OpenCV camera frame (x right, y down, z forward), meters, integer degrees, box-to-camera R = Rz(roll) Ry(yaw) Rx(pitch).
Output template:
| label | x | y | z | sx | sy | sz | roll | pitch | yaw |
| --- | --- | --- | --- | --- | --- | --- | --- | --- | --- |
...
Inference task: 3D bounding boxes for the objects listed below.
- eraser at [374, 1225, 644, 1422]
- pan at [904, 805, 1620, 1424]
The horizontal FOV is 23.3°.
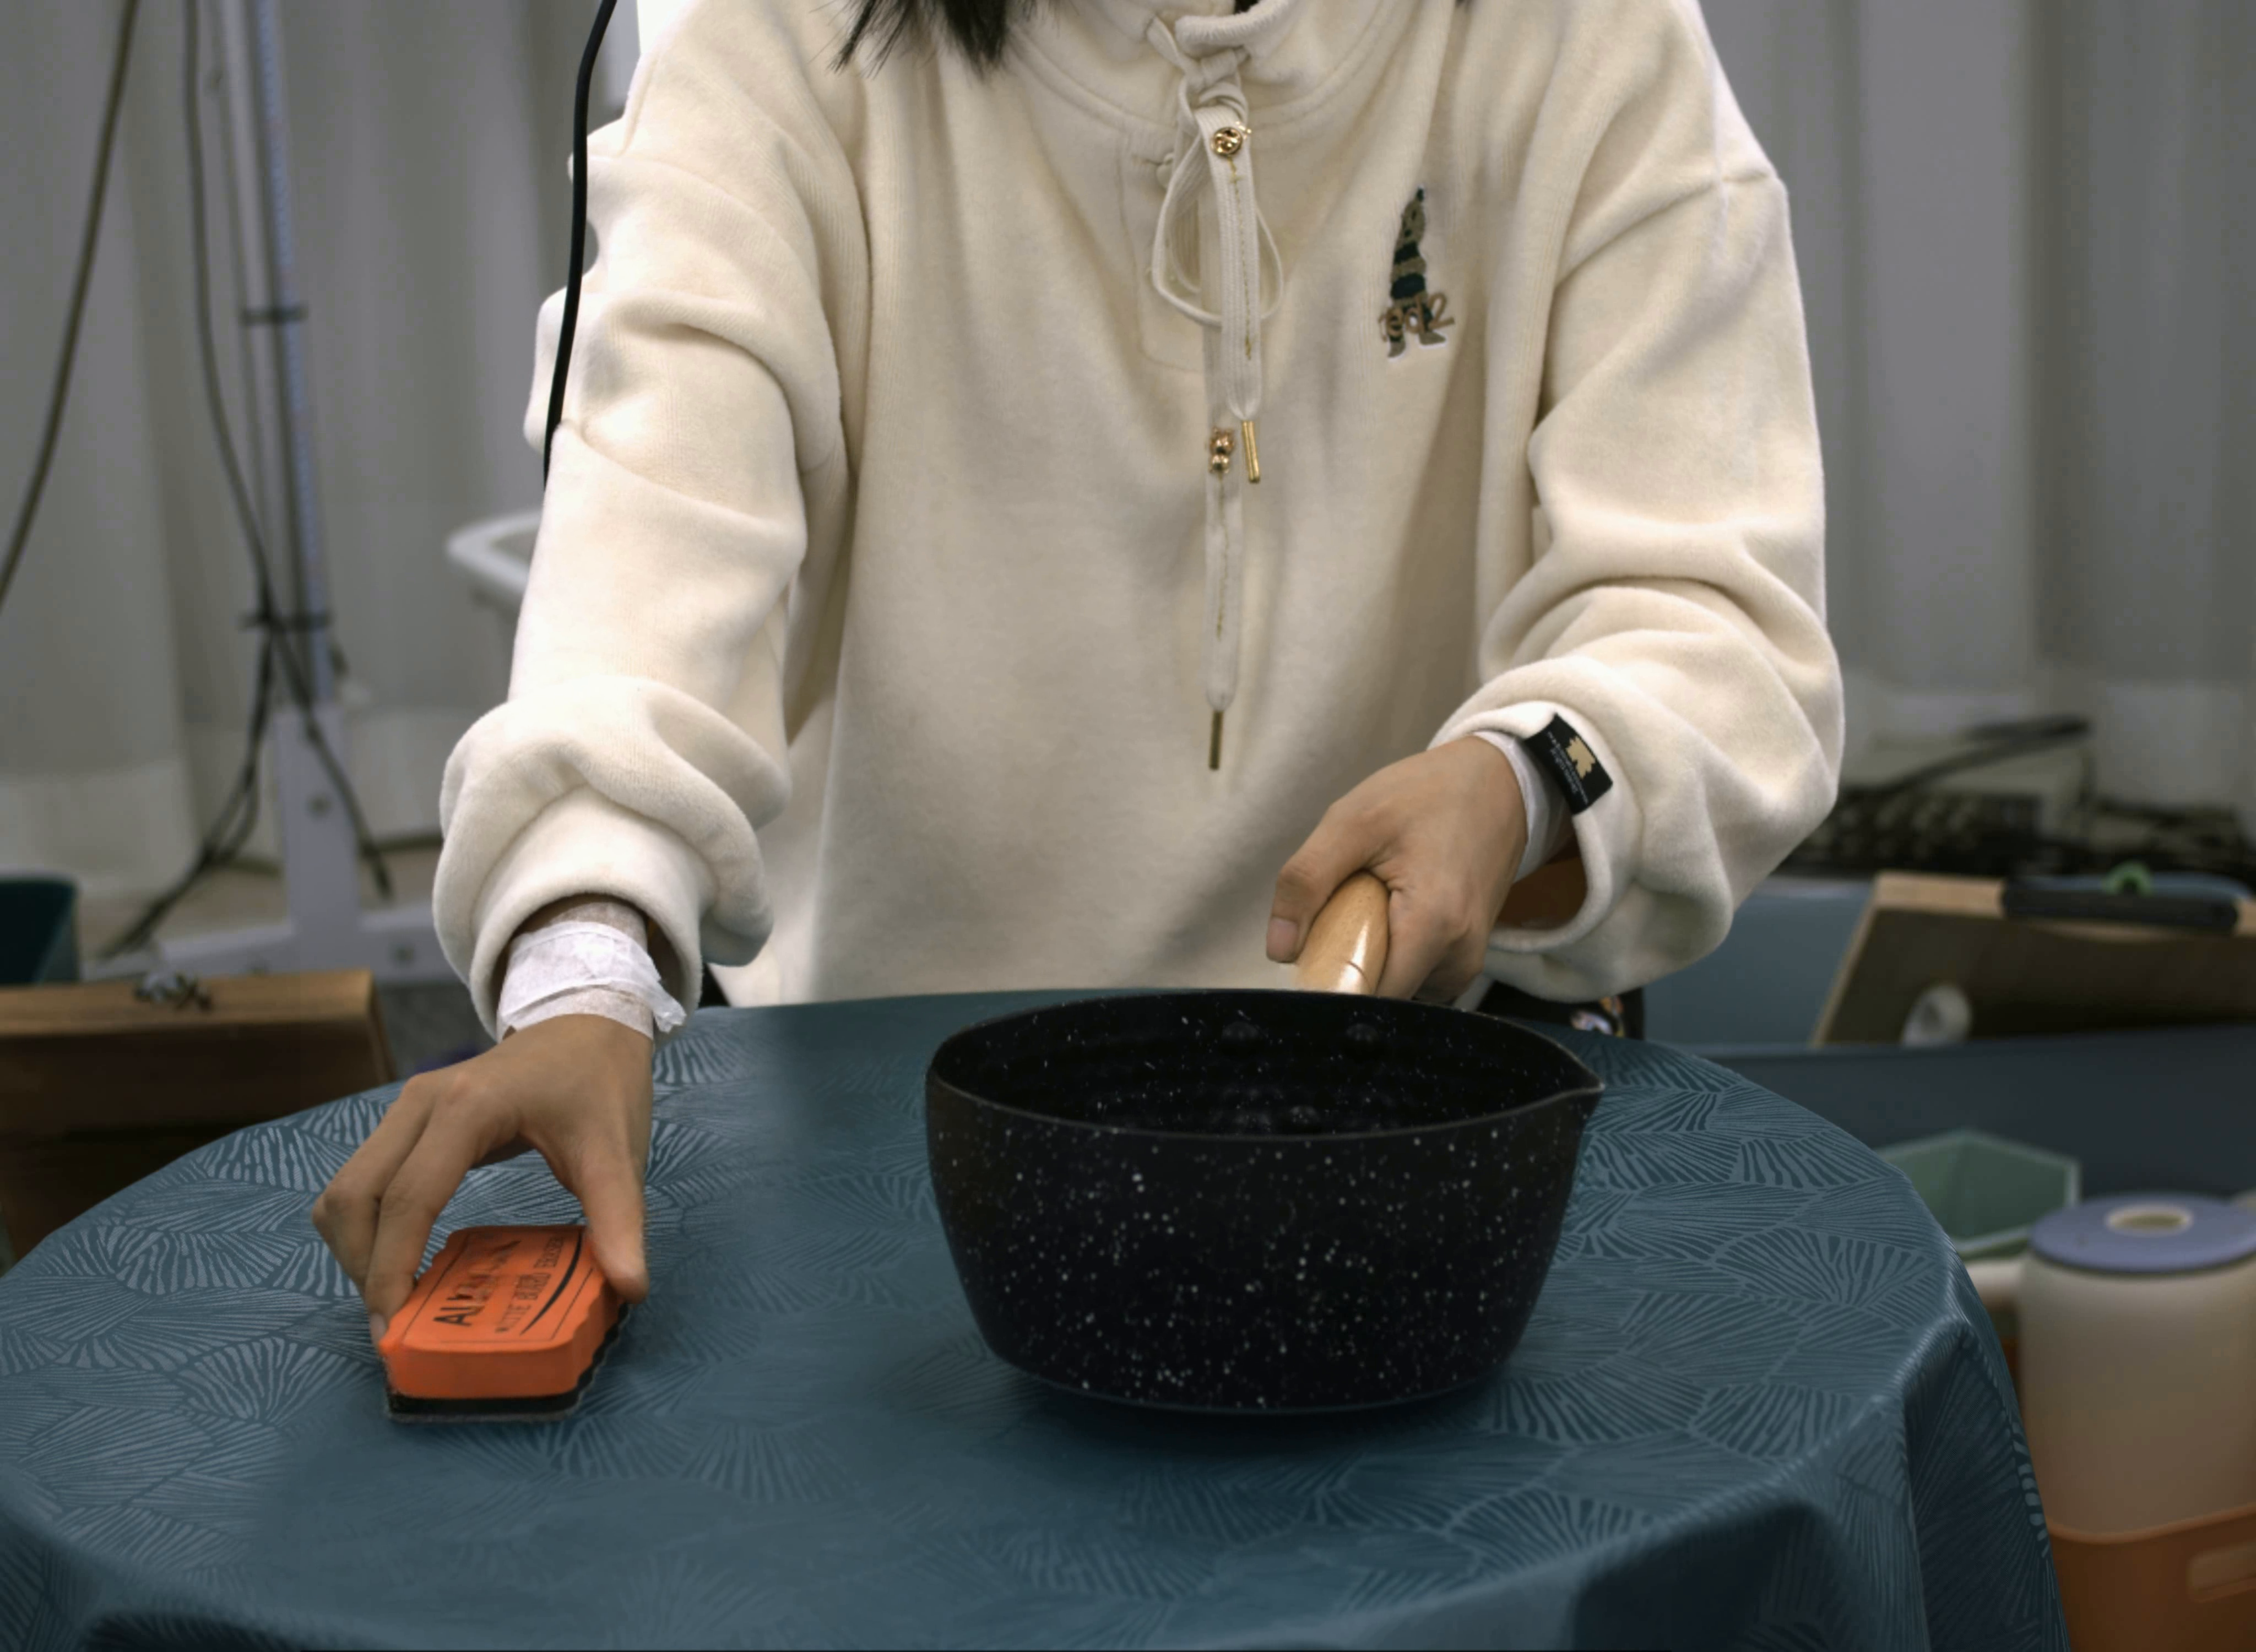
| label | x | y | z | sx | sy | sz | roll | pitch | yaw |
| --- | --- | --- | --- | --- | --- | --- | --- | --- | --- |
| eraser | -0.179 | 0.144 | 1.593 | 0.059 | 0.023 | 0.108 | -2 | 14 | 8 |
| pan | 0.049 | 0.080 | 1.623 | 0.207 | 0.108 | 0.344 | 1 | 12 | 10 |
